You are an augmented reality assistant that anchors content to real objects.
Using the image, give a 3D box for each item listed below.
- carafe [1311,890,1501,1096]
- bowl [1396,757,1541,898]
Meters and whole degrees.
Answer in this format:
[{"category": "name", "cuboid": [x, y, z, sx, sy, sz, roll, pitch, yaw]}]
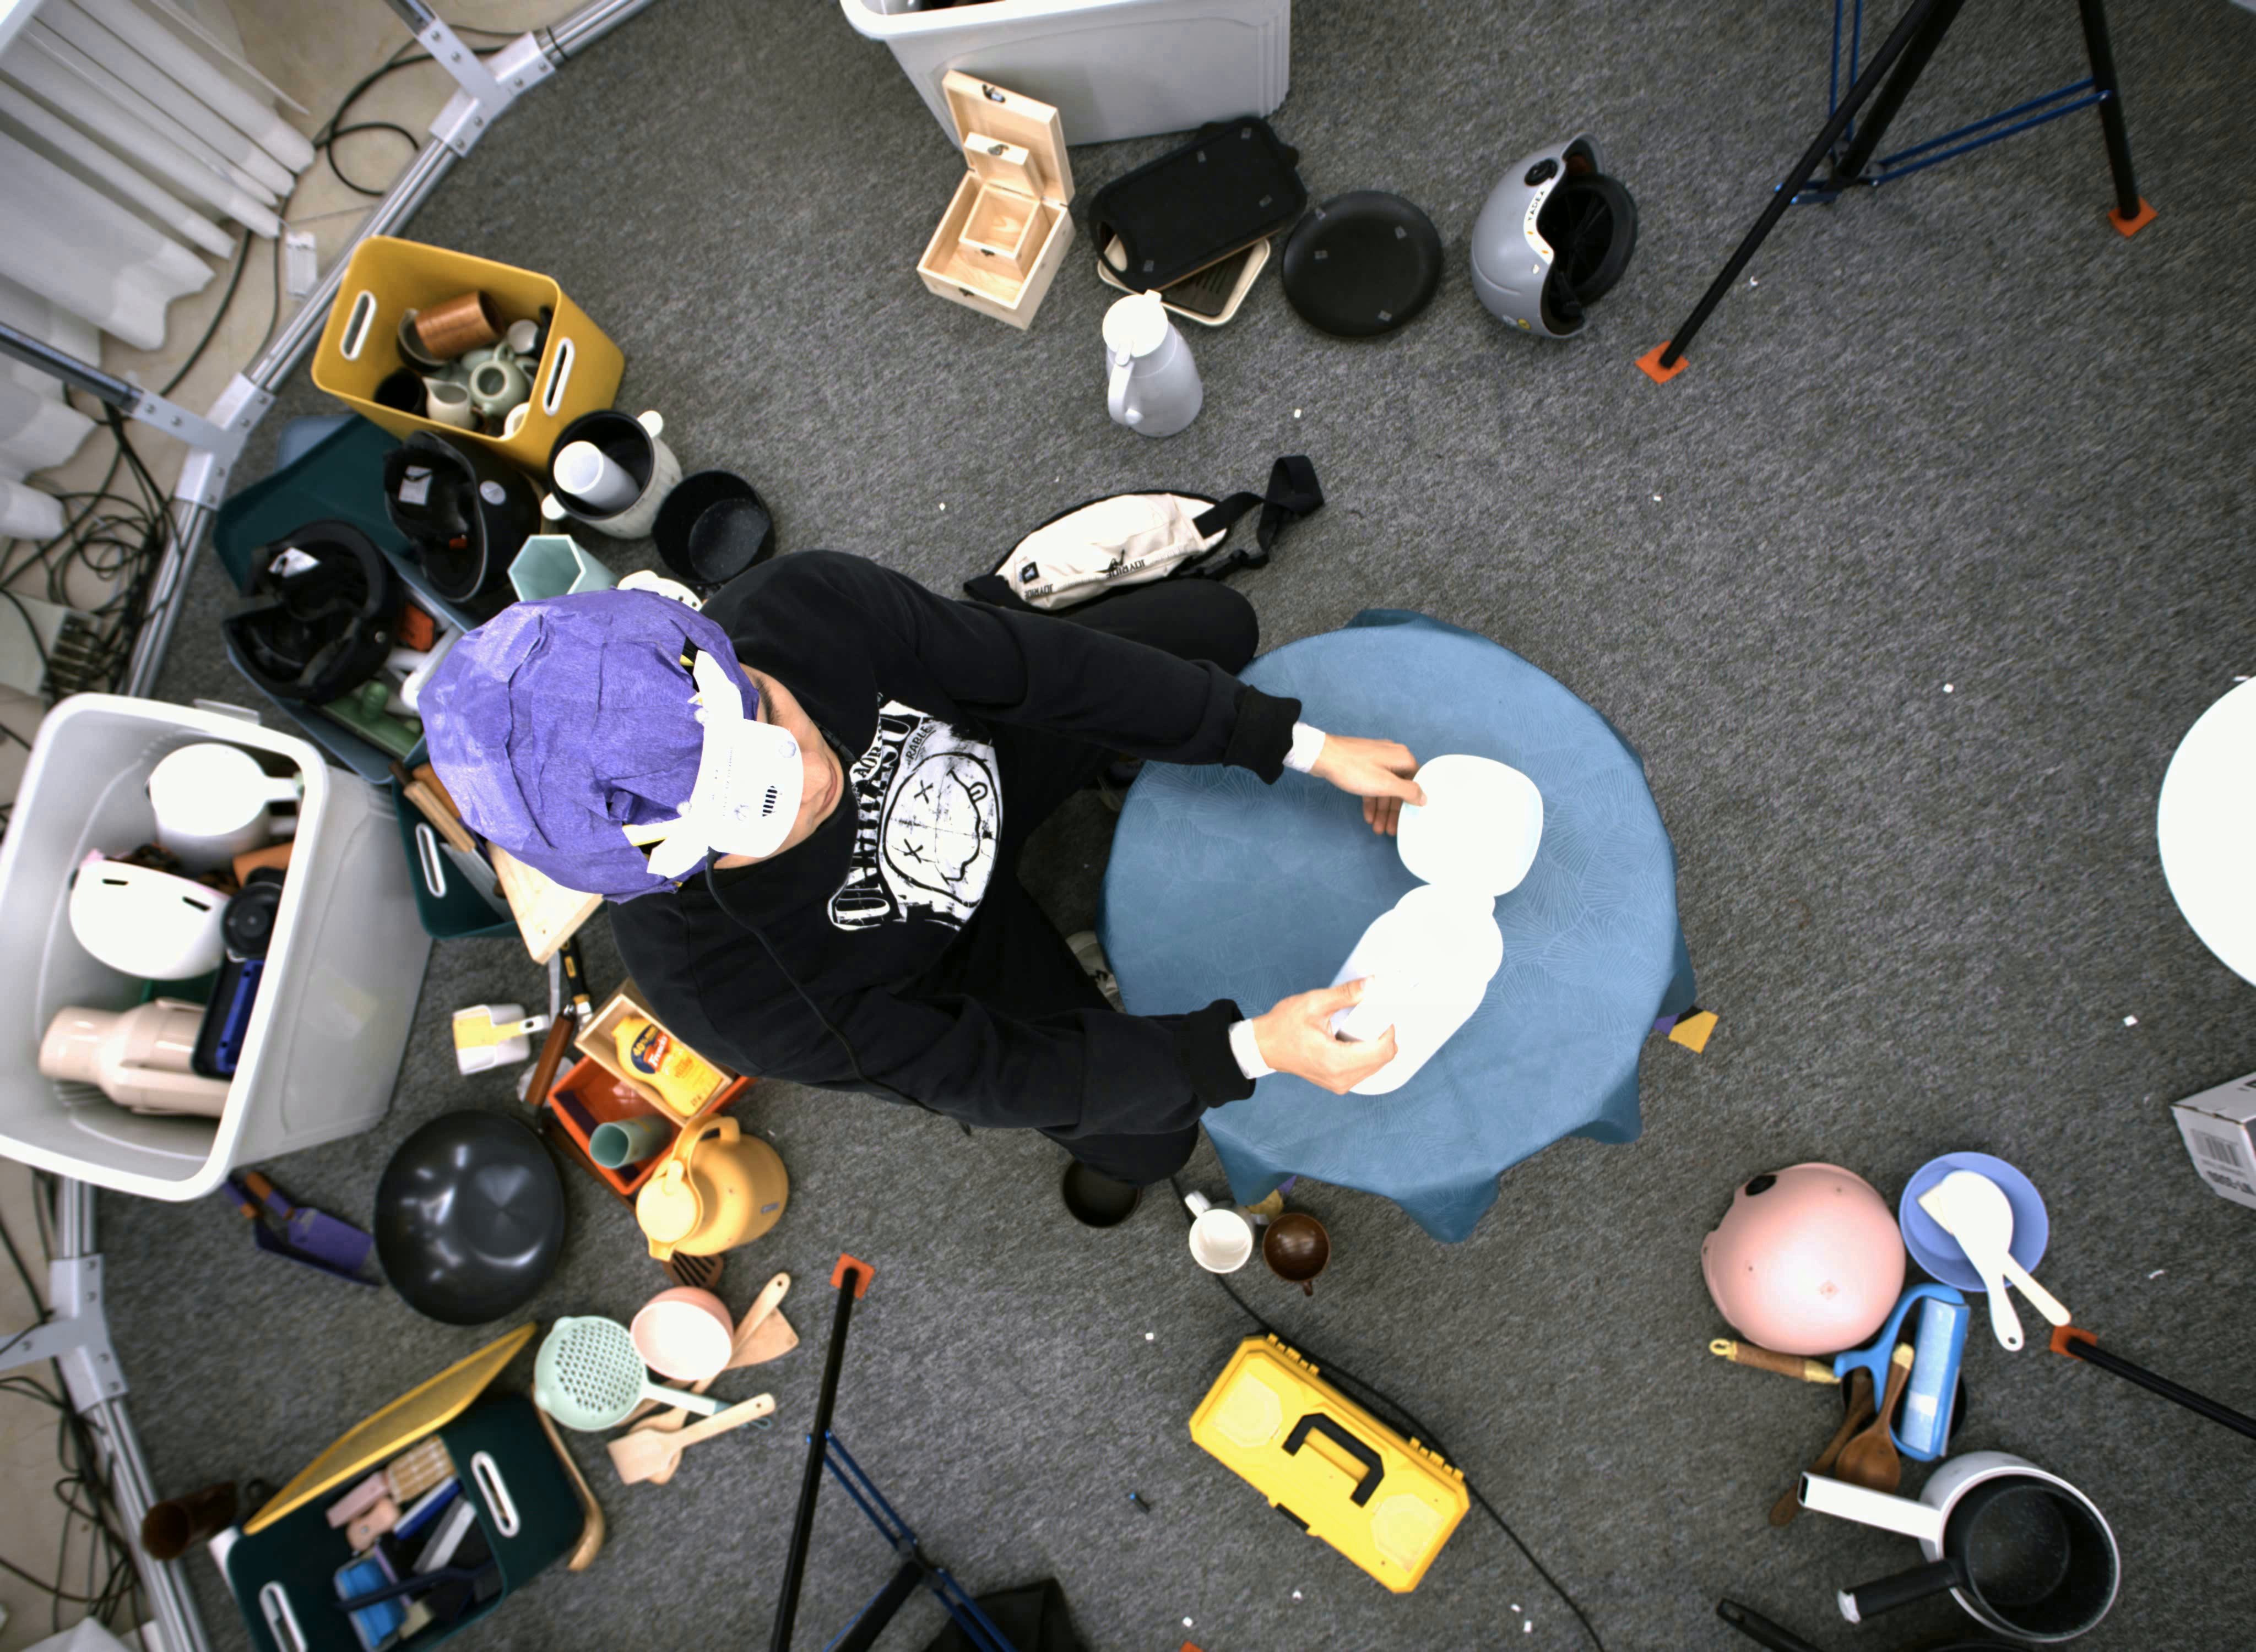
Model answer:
[{"category": "carafe", "cuboid": [0.243, 0.168, 1.276, 0.123, 0.274, 0.170, 43, 67, 12]}, {"category": "bowl", "cuboid": [0.342, 0.003, 1.393, 0.152, 0.059, 0.150, -1, 83, 9]}]
